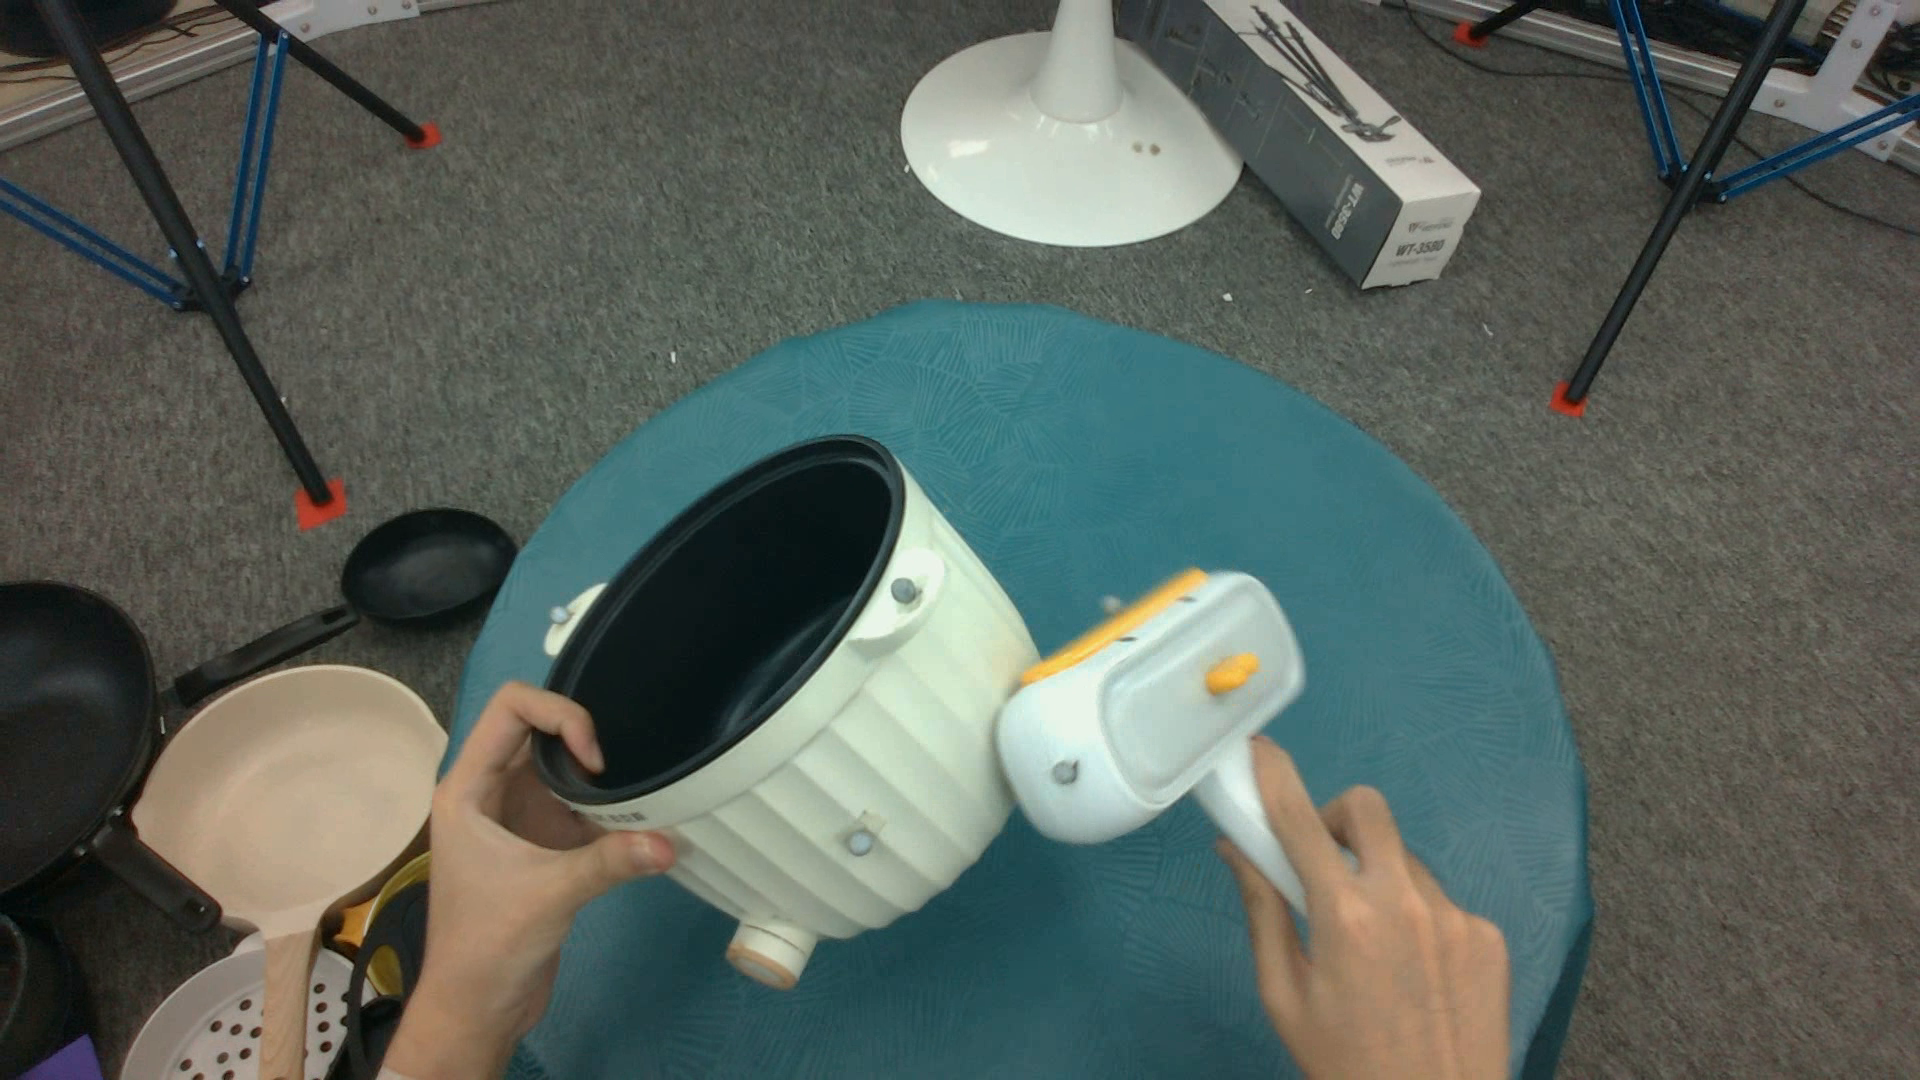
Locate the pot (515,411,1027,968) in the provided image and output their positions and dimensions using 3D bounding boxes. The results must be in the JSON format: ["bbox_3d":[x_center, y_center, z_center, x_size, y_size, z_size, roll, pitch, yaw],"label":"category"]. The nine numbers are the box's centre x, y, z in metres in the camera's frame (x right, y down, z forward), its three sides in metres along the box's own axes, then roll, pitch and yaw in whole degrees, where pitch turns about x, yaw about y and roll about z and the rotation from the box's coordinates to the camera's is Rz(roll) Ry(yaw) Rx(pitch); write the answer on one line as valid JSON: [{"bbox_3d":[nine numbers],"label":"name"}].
[{"bbox_3d":[-0.069,0.062,0.568,0.239,0.142,0.191,-8,43,41],"label":"pot"}]

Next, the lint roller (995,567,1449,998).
[{"bbox_3d":[0.121,0.107,0.567,0.192,0.074,0.193,57,32,8],"label":"lint roller"}]
